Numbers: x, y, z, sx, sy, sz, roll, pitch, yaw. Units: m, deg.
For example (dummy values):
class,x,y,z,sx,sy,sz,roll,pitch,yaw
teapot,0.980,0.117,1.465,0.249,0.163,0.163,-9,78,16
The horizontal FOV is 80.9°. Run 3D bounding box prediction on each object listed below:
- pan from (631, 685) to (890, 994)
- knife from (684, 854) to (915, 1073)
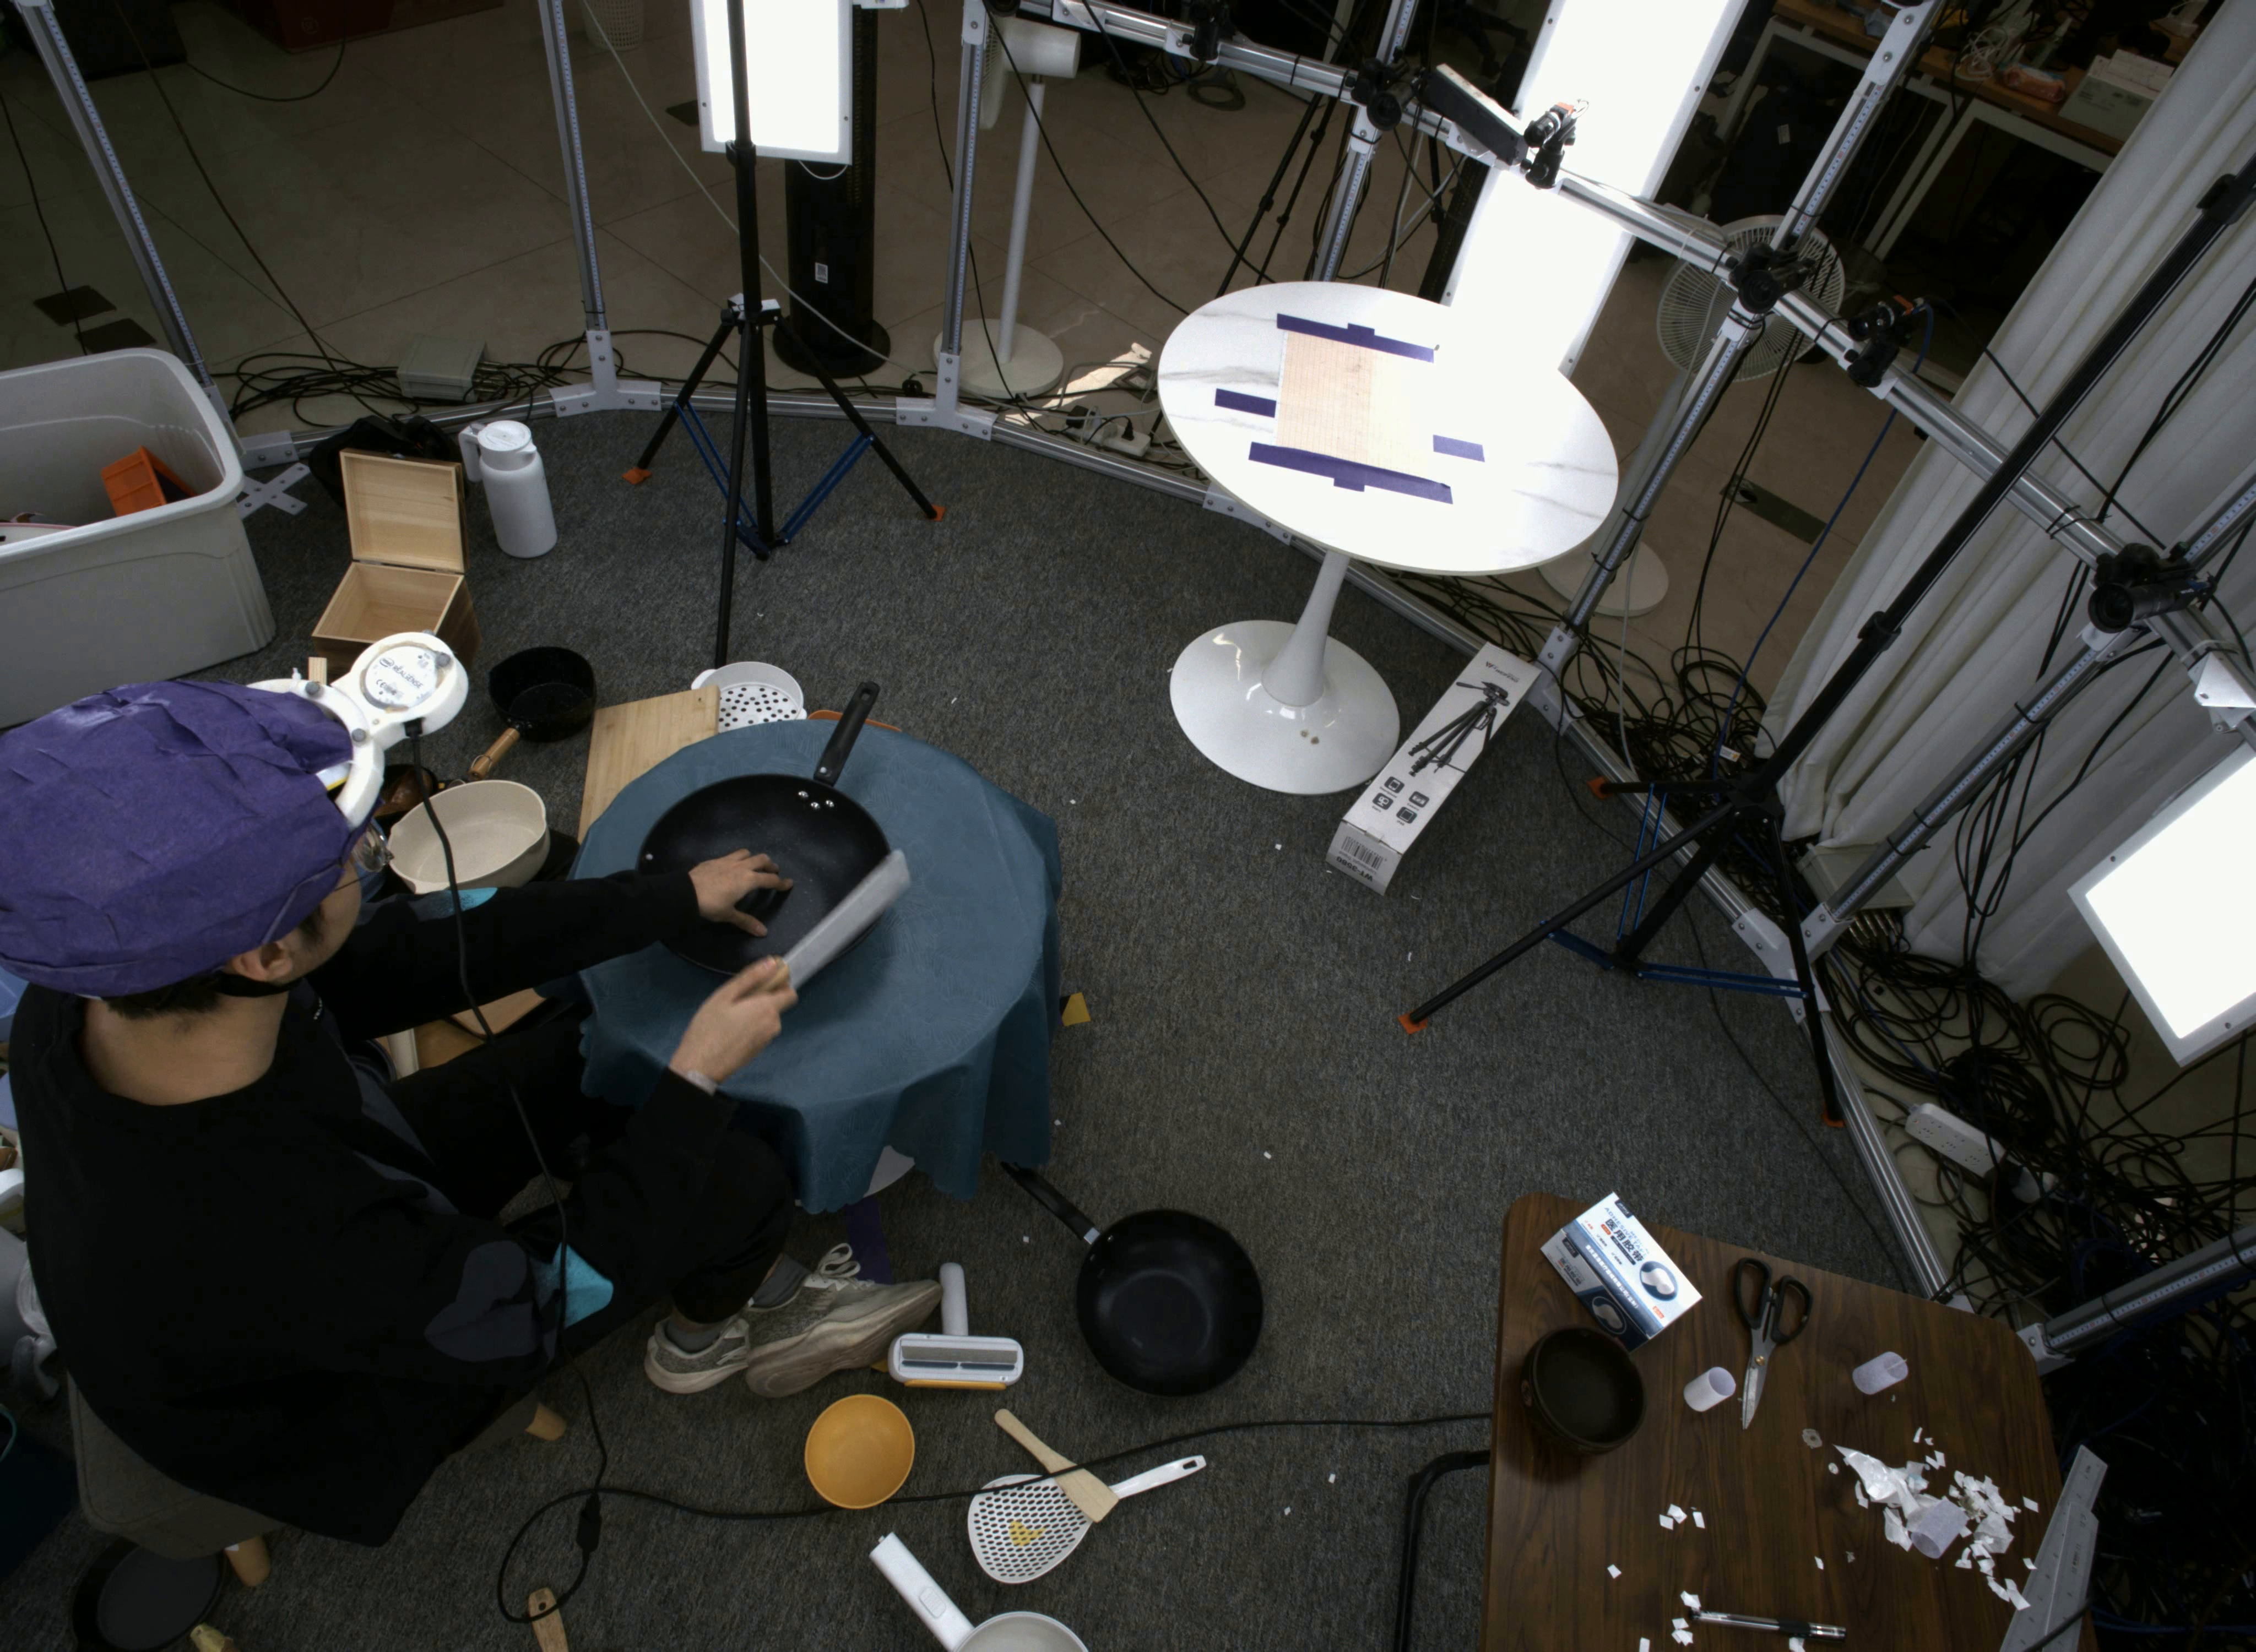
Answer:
class,x,y,z,sx,sy,sz,roll,pitch,yaw
pan,-0.422,0.017,1.633,0.308,0.113,0.472,21,51,-1
knife,-0.335,0.138,1.350,0.021,0.116,0.315,38,61,14
